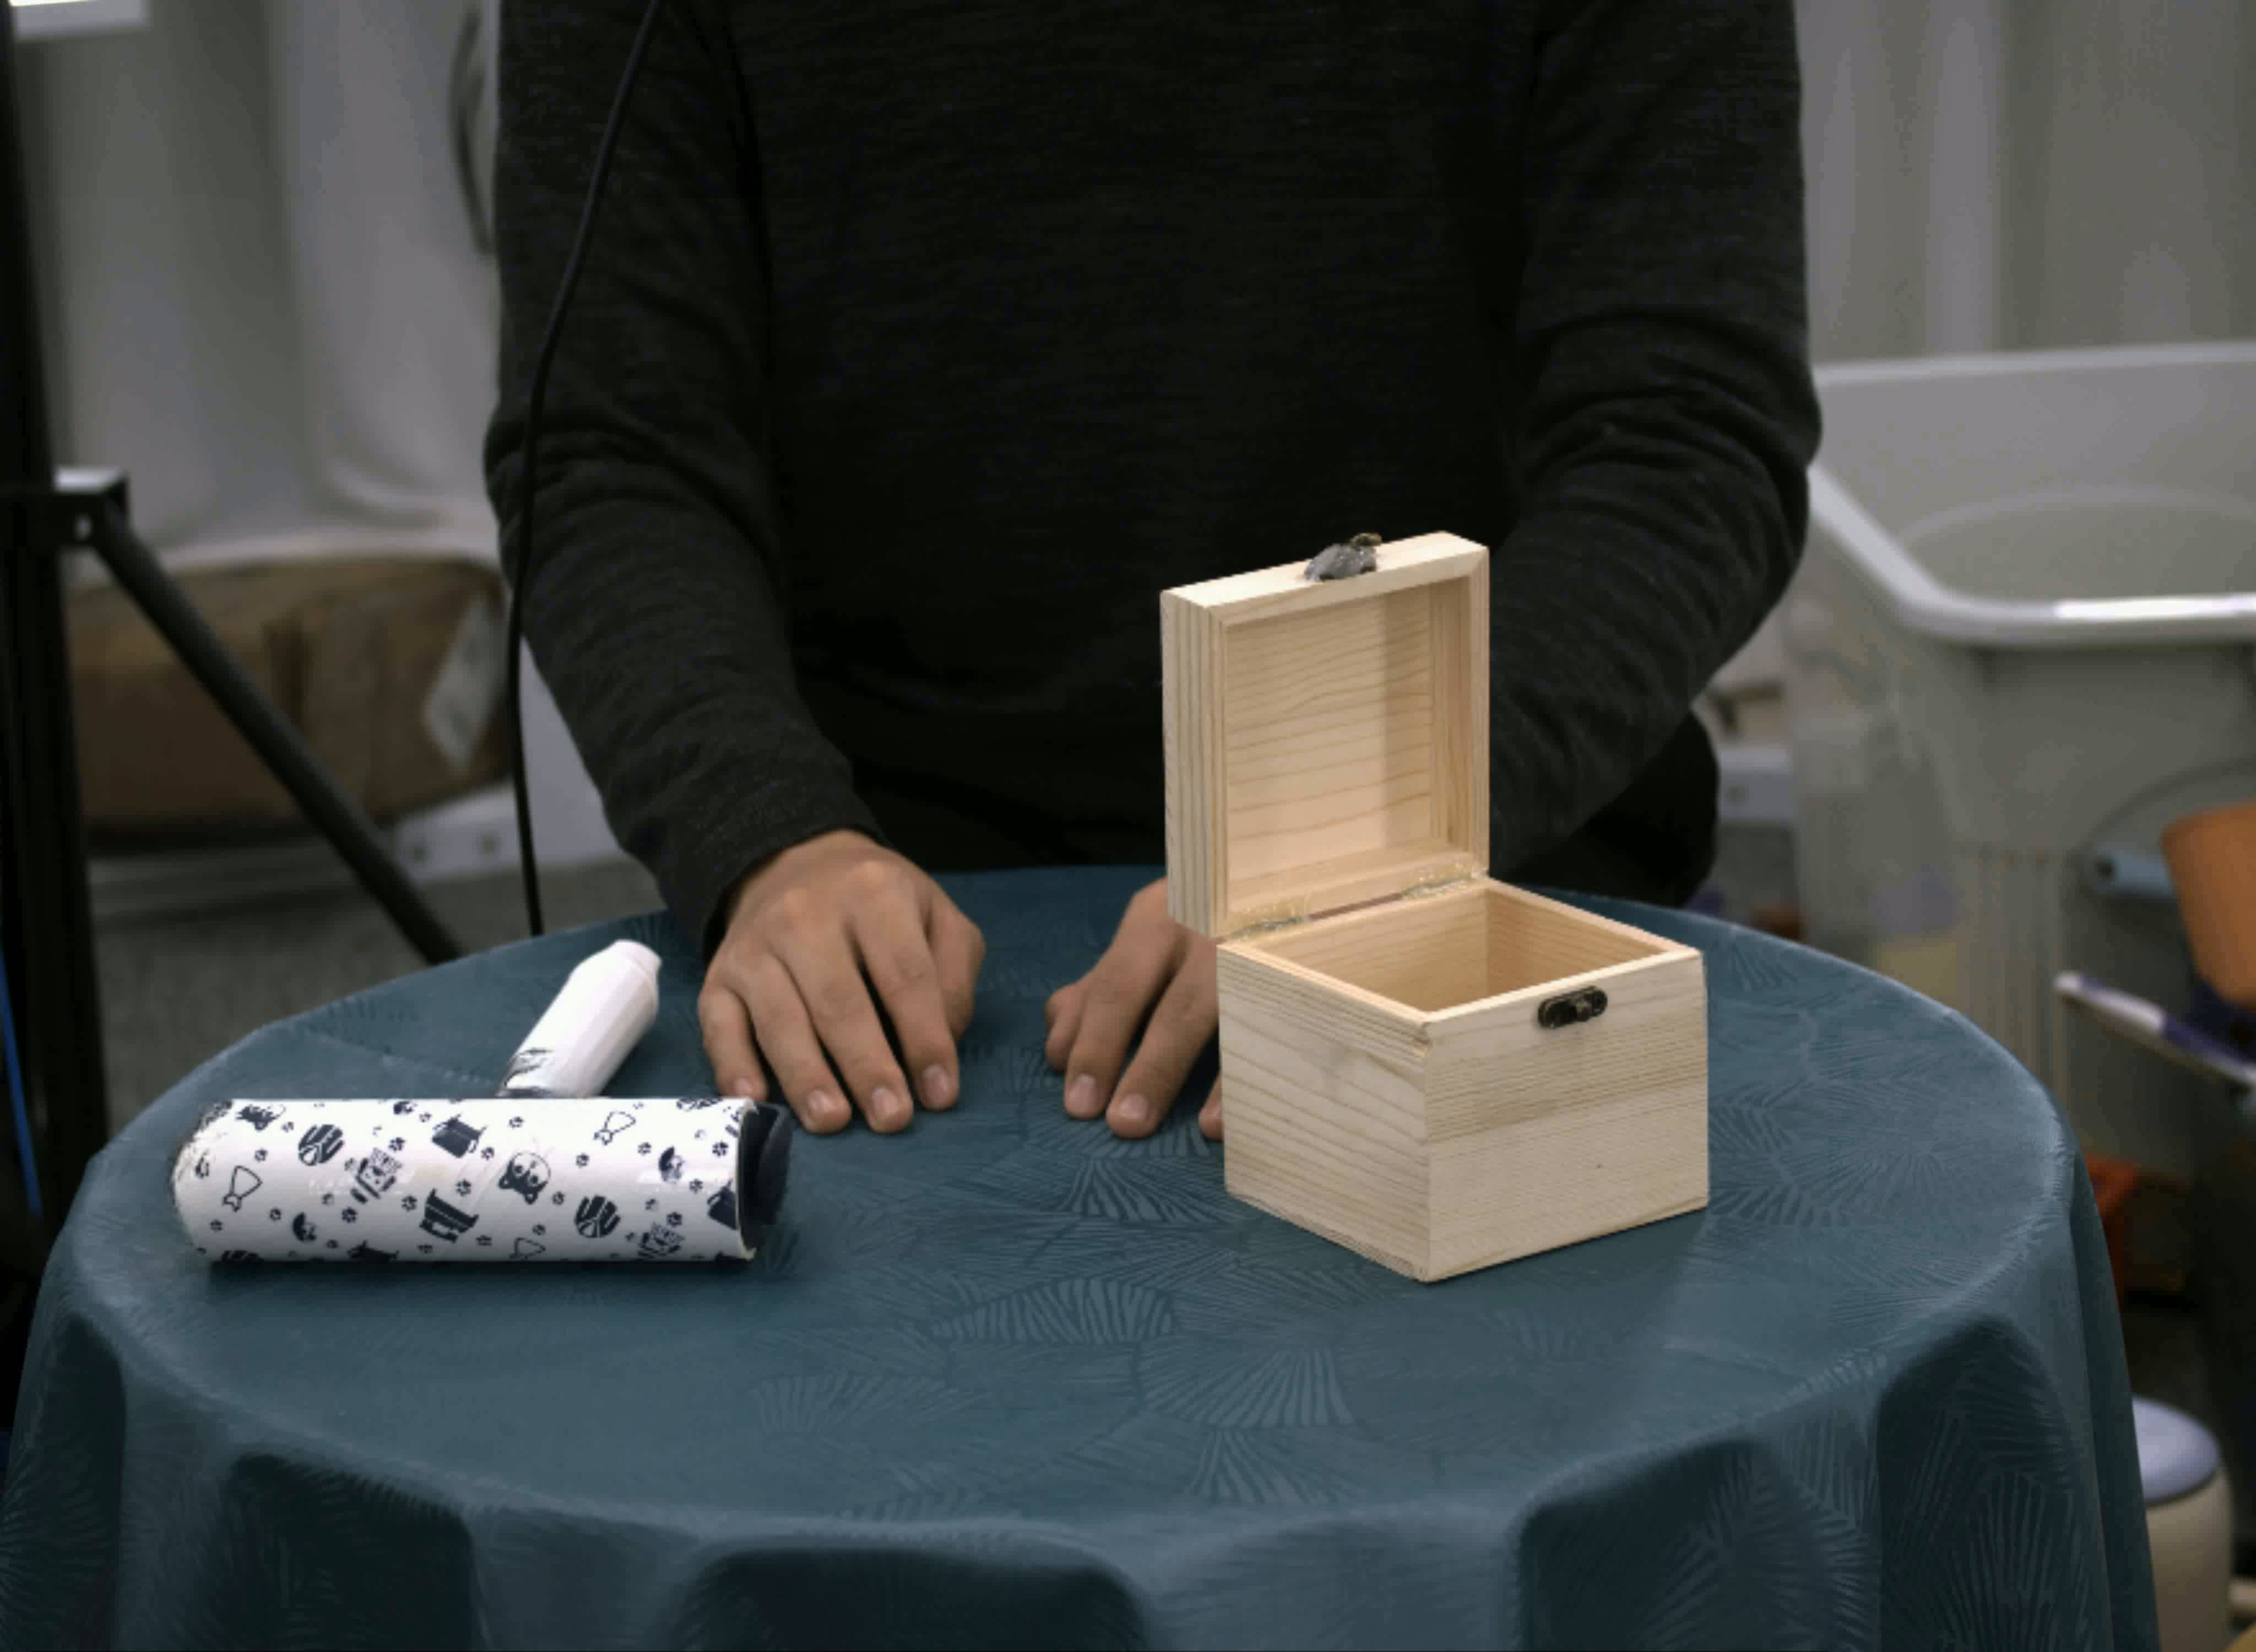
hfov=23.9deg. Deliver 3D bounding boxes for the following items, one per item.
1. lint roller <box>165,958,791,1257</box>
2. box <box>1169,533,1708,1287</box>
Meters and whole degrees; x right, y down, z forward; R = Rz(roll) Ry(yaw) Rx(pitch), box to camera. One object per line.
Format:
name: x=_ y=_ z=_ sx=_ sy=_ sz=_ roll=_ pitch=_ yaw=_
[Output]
lint roller: x=-0.177 y=0.075 z=1.624 sx=0.176 sy=0.050 sz=0.247 roll=-2 pitch=15 yaw=7
box: x=0.090 y=0.020 z=1.519 sx=0.100 sy=0.184 sz=0.137 roll=-11 pitch=16 yaw=-31
